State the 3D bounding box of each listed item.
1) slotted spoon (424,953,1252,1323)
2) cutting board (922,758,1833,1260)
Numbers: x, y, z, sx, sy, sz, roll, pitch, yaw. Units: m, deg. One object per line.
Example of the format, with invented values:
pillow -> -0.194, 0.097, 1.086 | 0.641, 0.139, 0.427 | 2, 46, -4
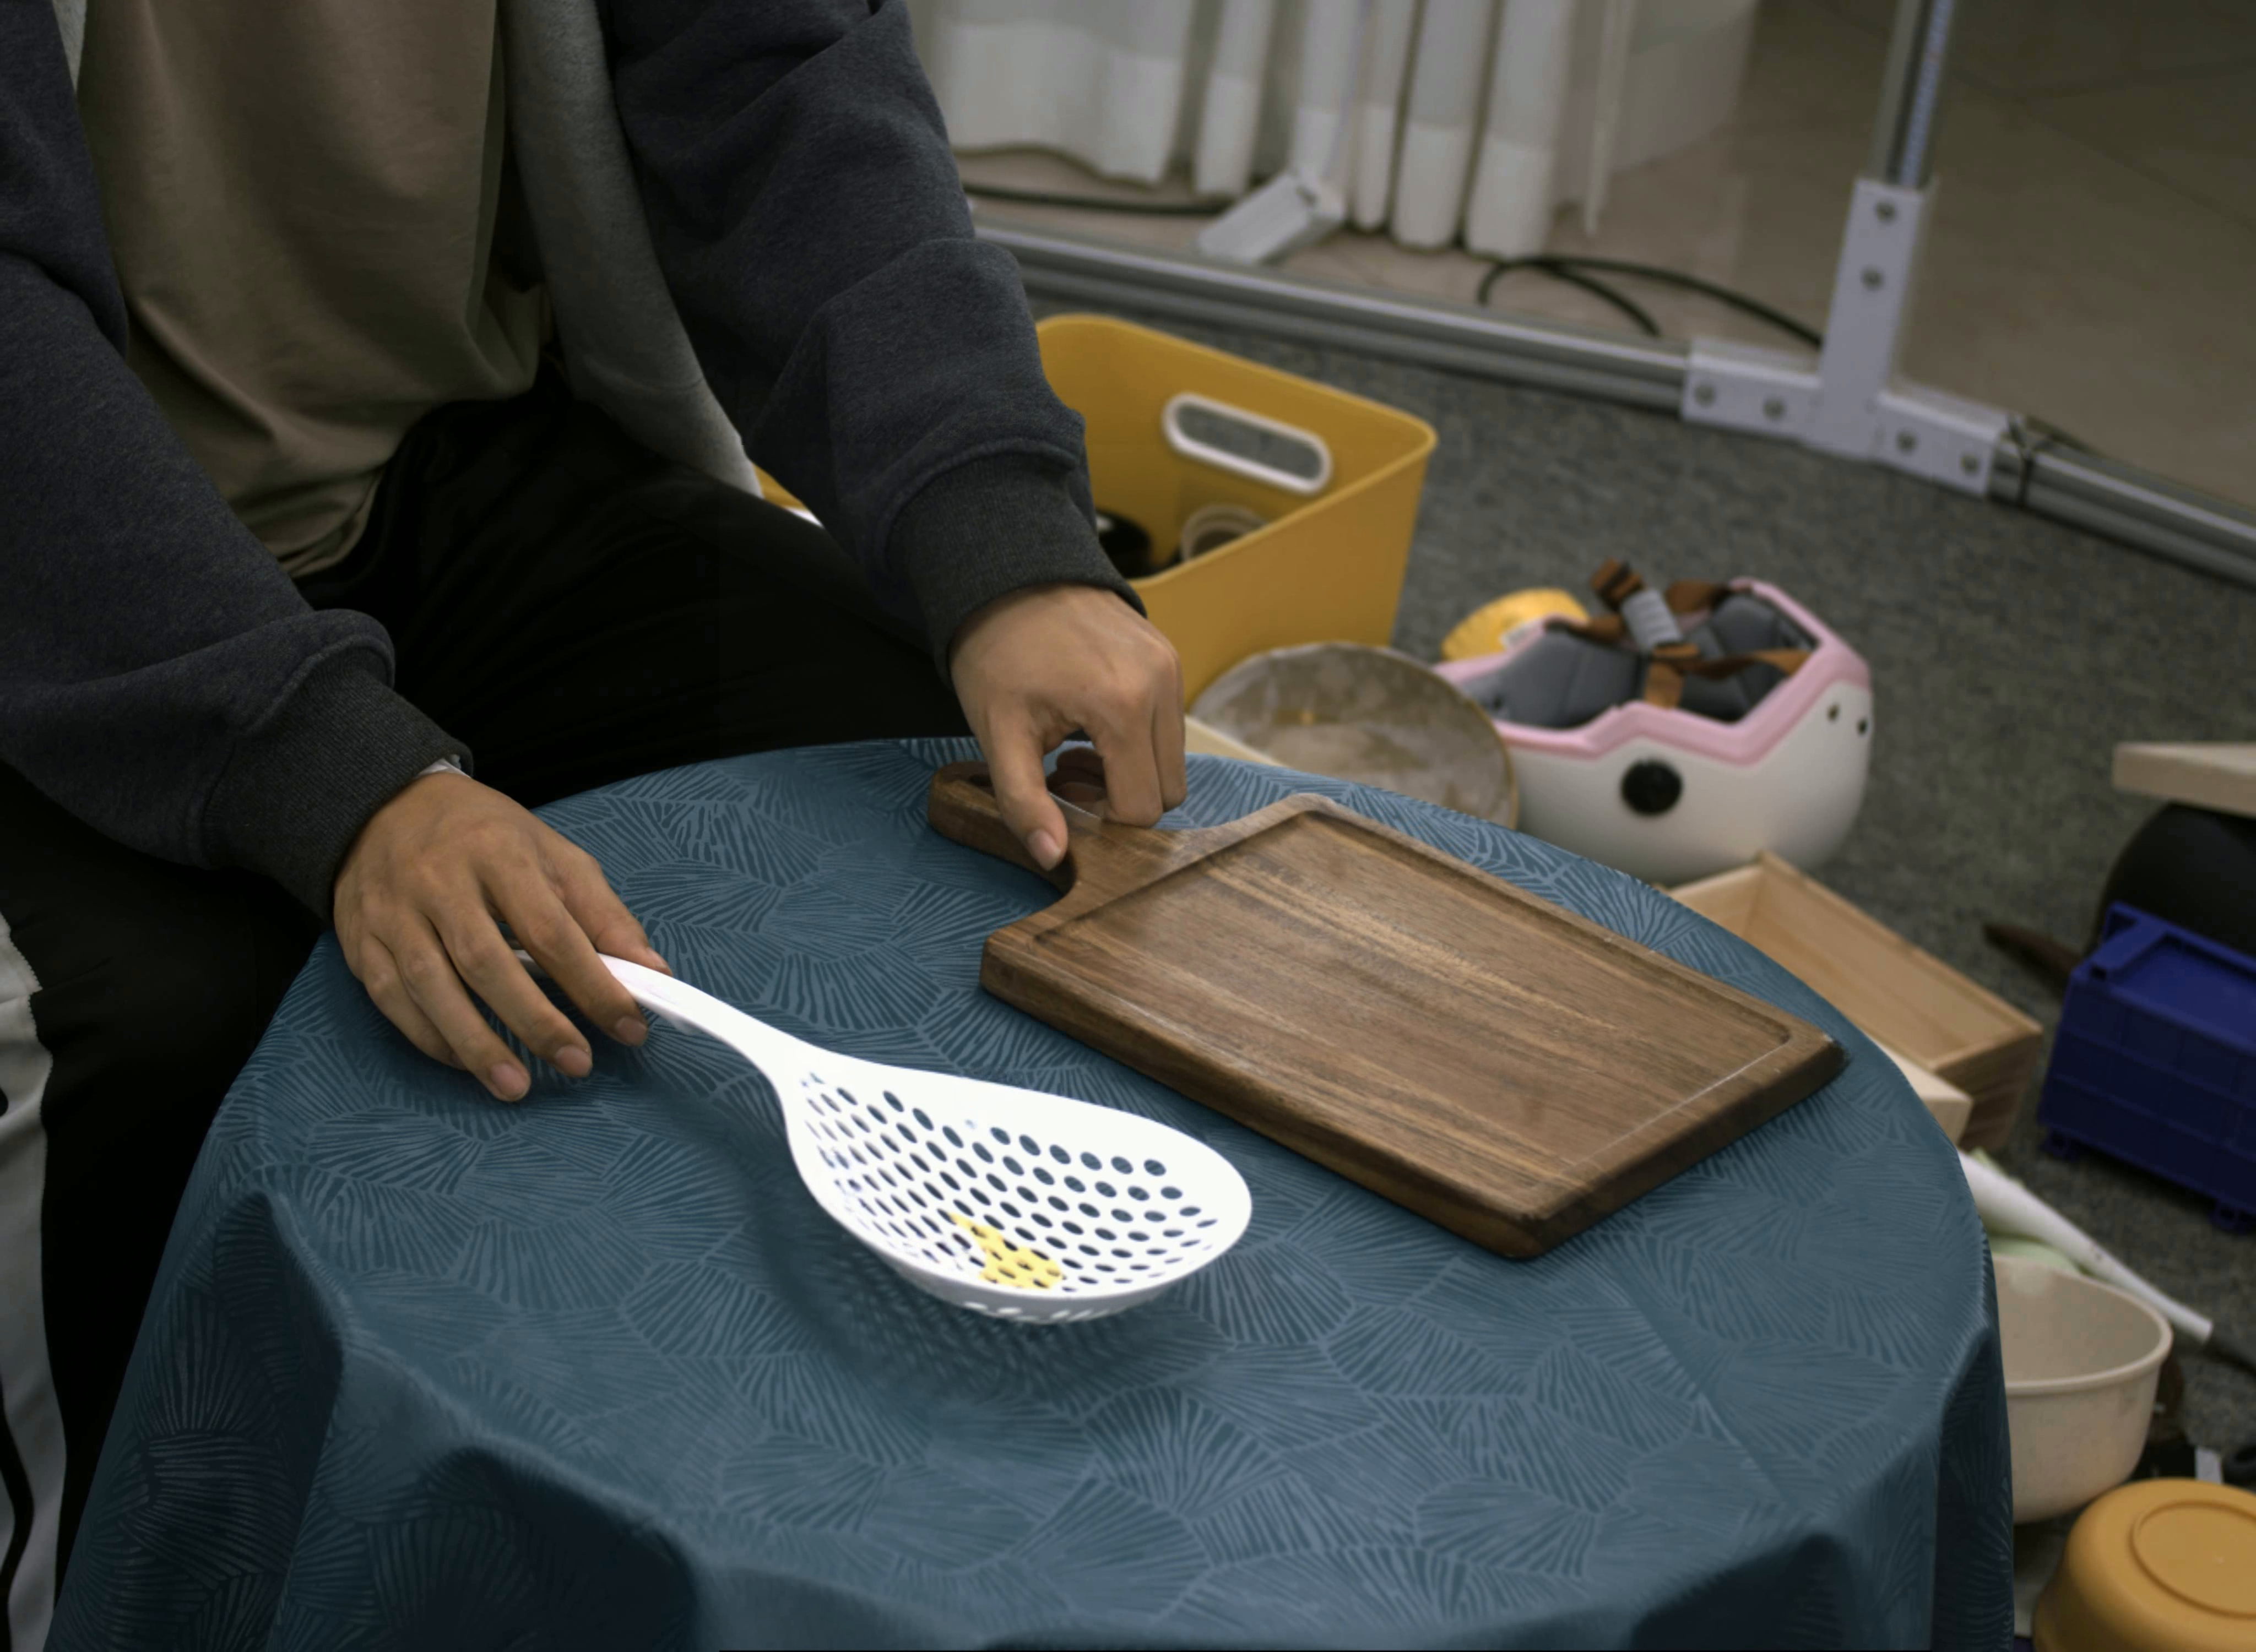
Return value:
slotted spoon -> -0.111, 0.092, 1.793 | 0.350, 0.050, 0.136 | 27, 34, 34
cutting board -> 0.062, 0.048, 1.941 | 0.354, 0.023, 0.200 | 26, 32, 32
